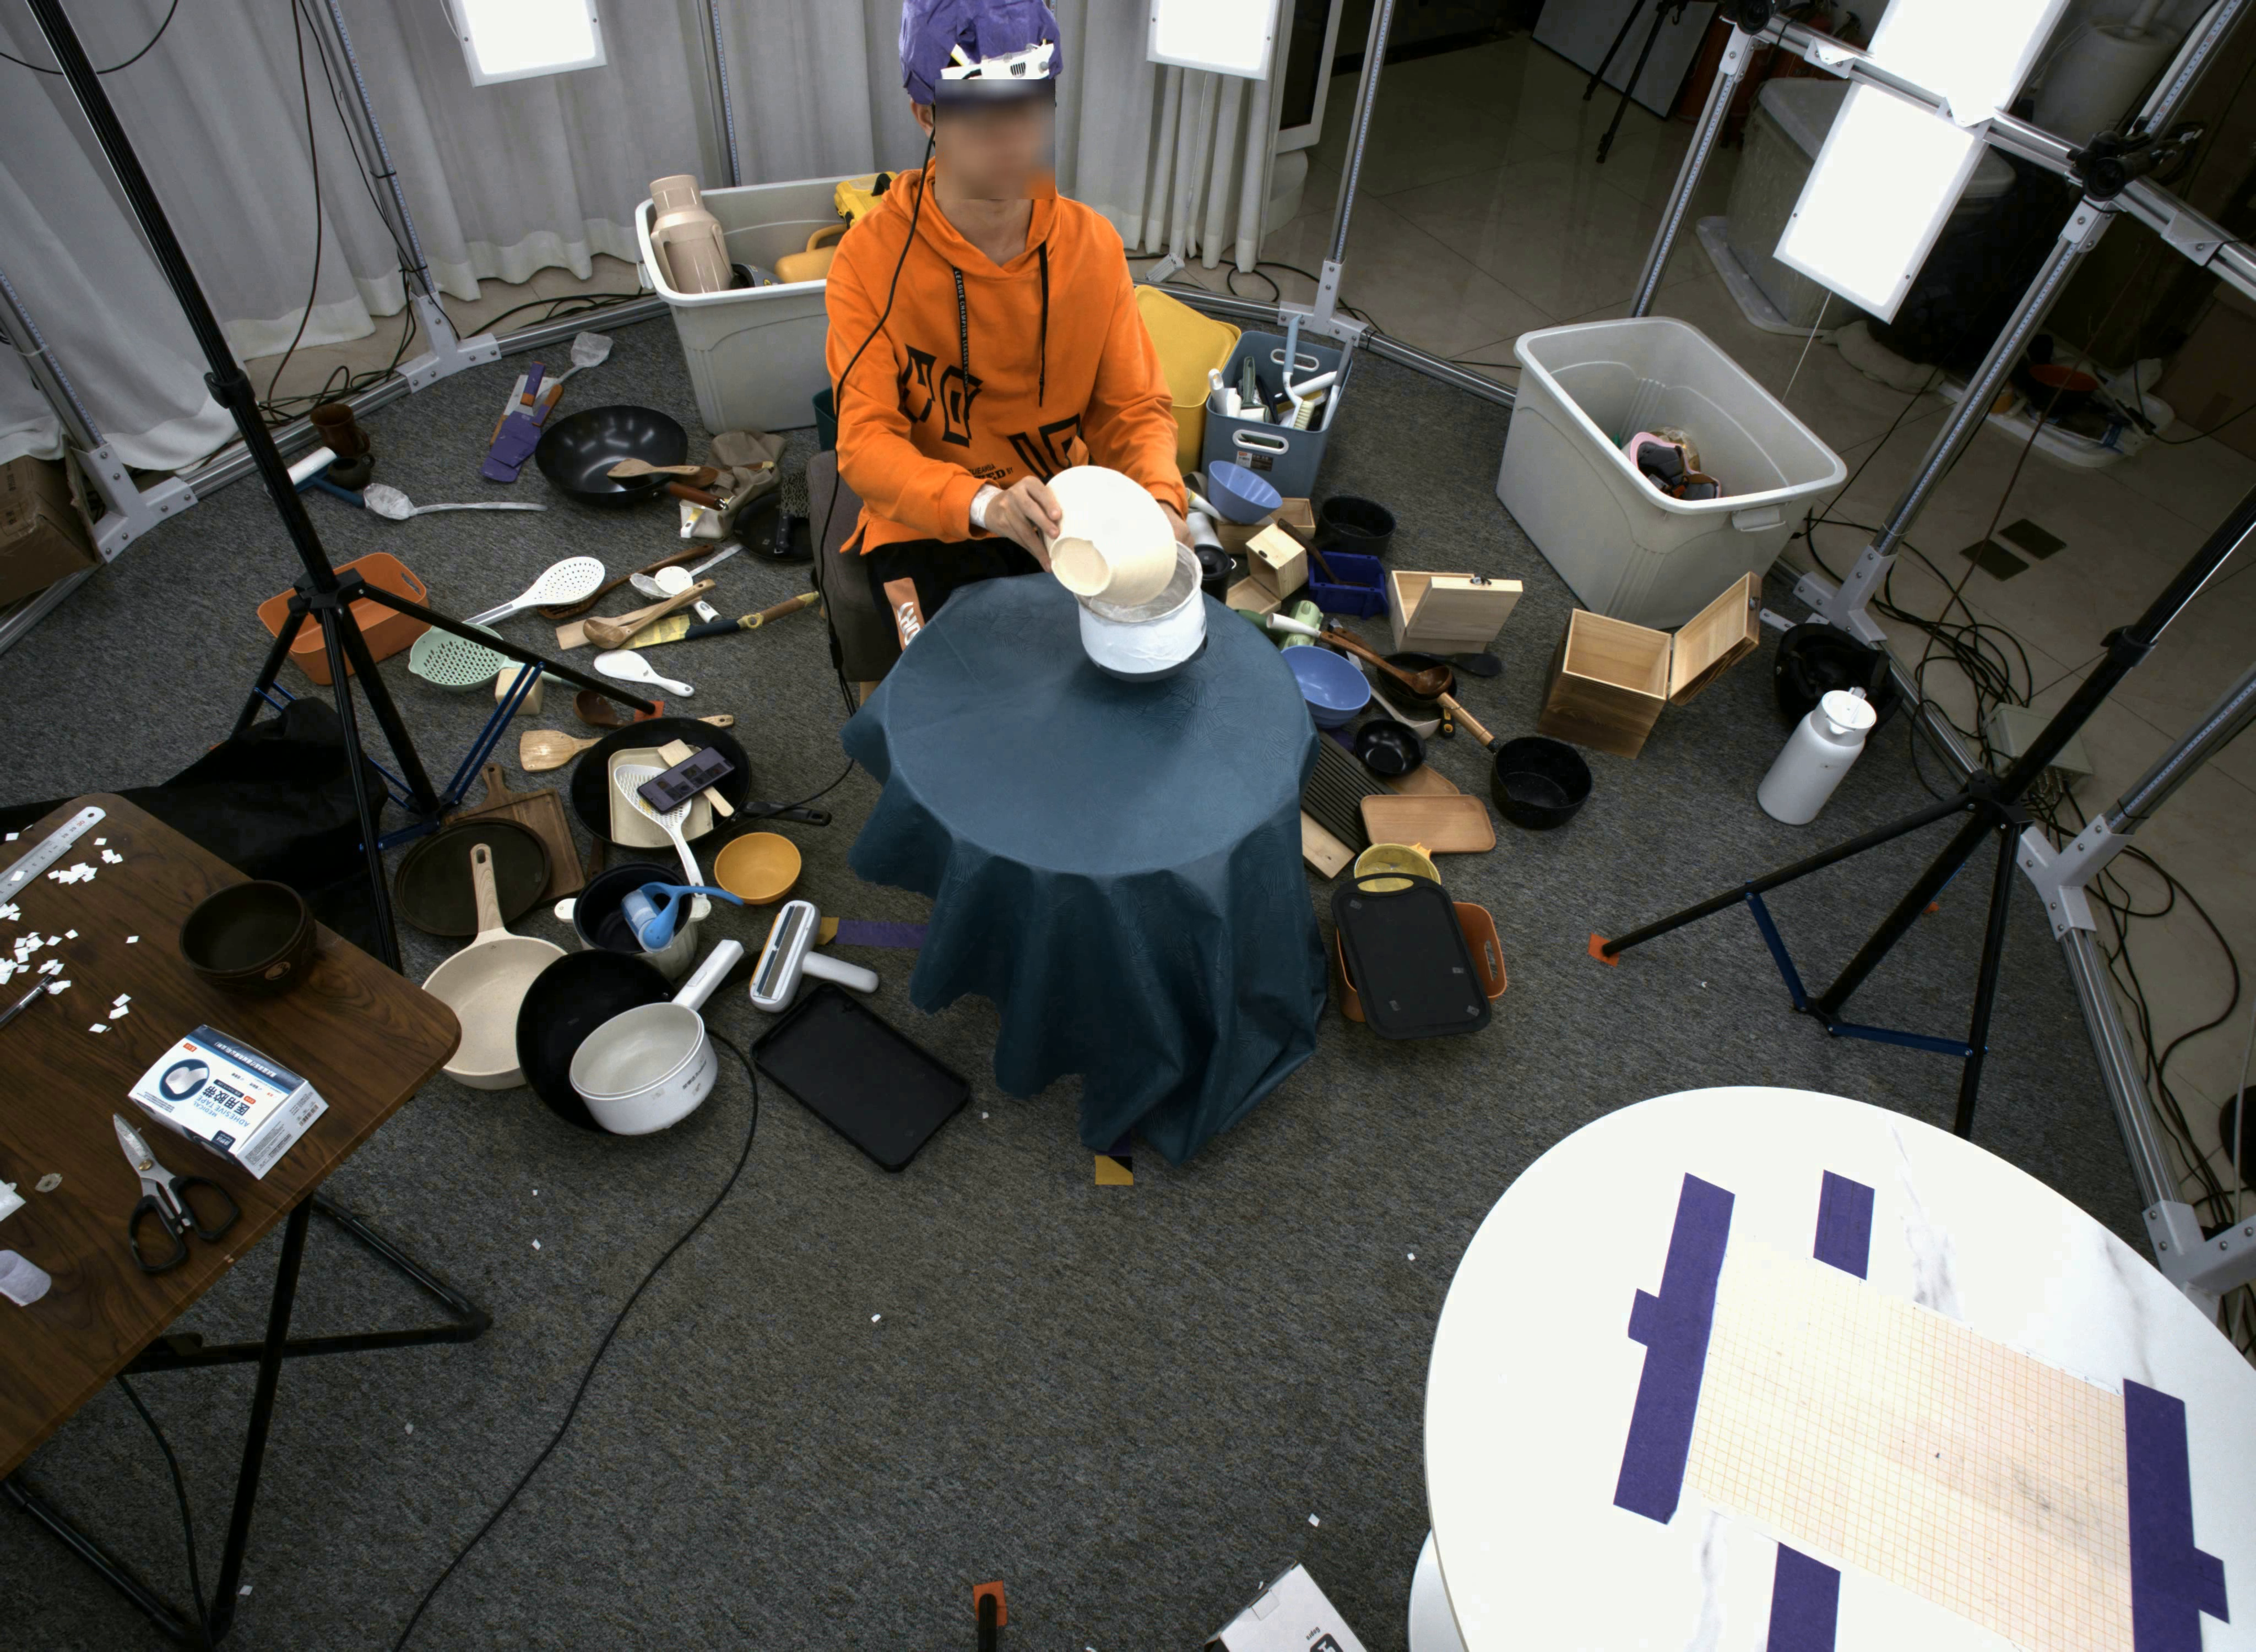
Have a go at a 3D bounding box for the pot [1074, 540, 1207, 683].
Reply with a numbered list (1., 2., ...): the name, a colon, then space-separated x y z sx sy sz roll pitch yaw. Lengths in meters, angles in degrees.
1. pot: 0.024 -0.321 1.808 0.179 0.133 0.239 5 52 12

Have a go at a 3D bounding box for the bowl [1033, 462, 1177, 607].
1. bowl: -0.045 -0.351 1.638 0.205 0.199 0.079 21 45 13
